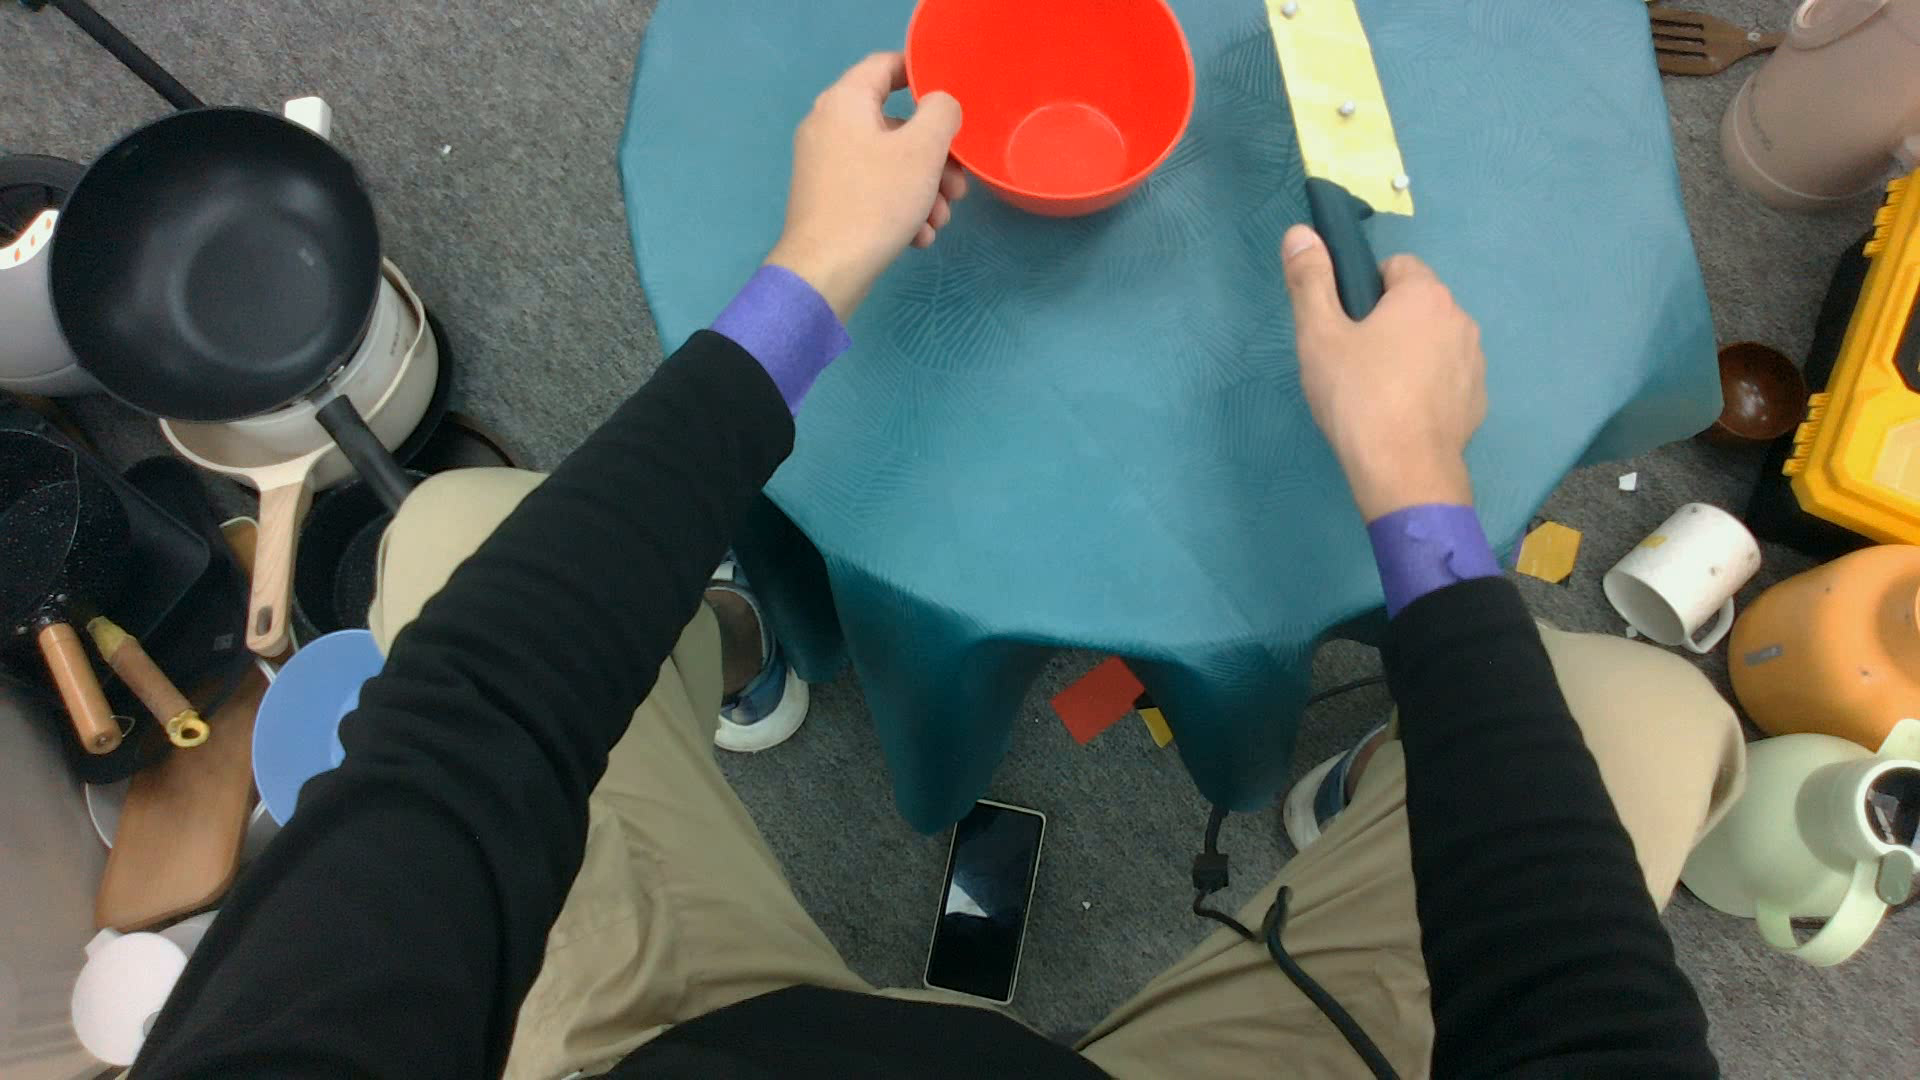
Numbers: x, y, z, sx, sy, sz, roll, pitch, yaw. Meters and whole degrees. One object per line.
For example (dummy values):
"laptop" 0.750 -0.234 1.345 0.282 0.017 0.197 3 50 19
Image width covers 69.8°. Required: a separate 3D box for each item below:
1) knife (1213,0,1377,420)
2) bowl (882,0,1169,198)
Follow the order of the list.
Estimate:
"knife" 0.179 -0.201 0.711 0.081 0.027 0.290 -5 79 -30
"bowl" 0.035 -0.241 0.742 0.148 0.104 0.148 0 74 1
